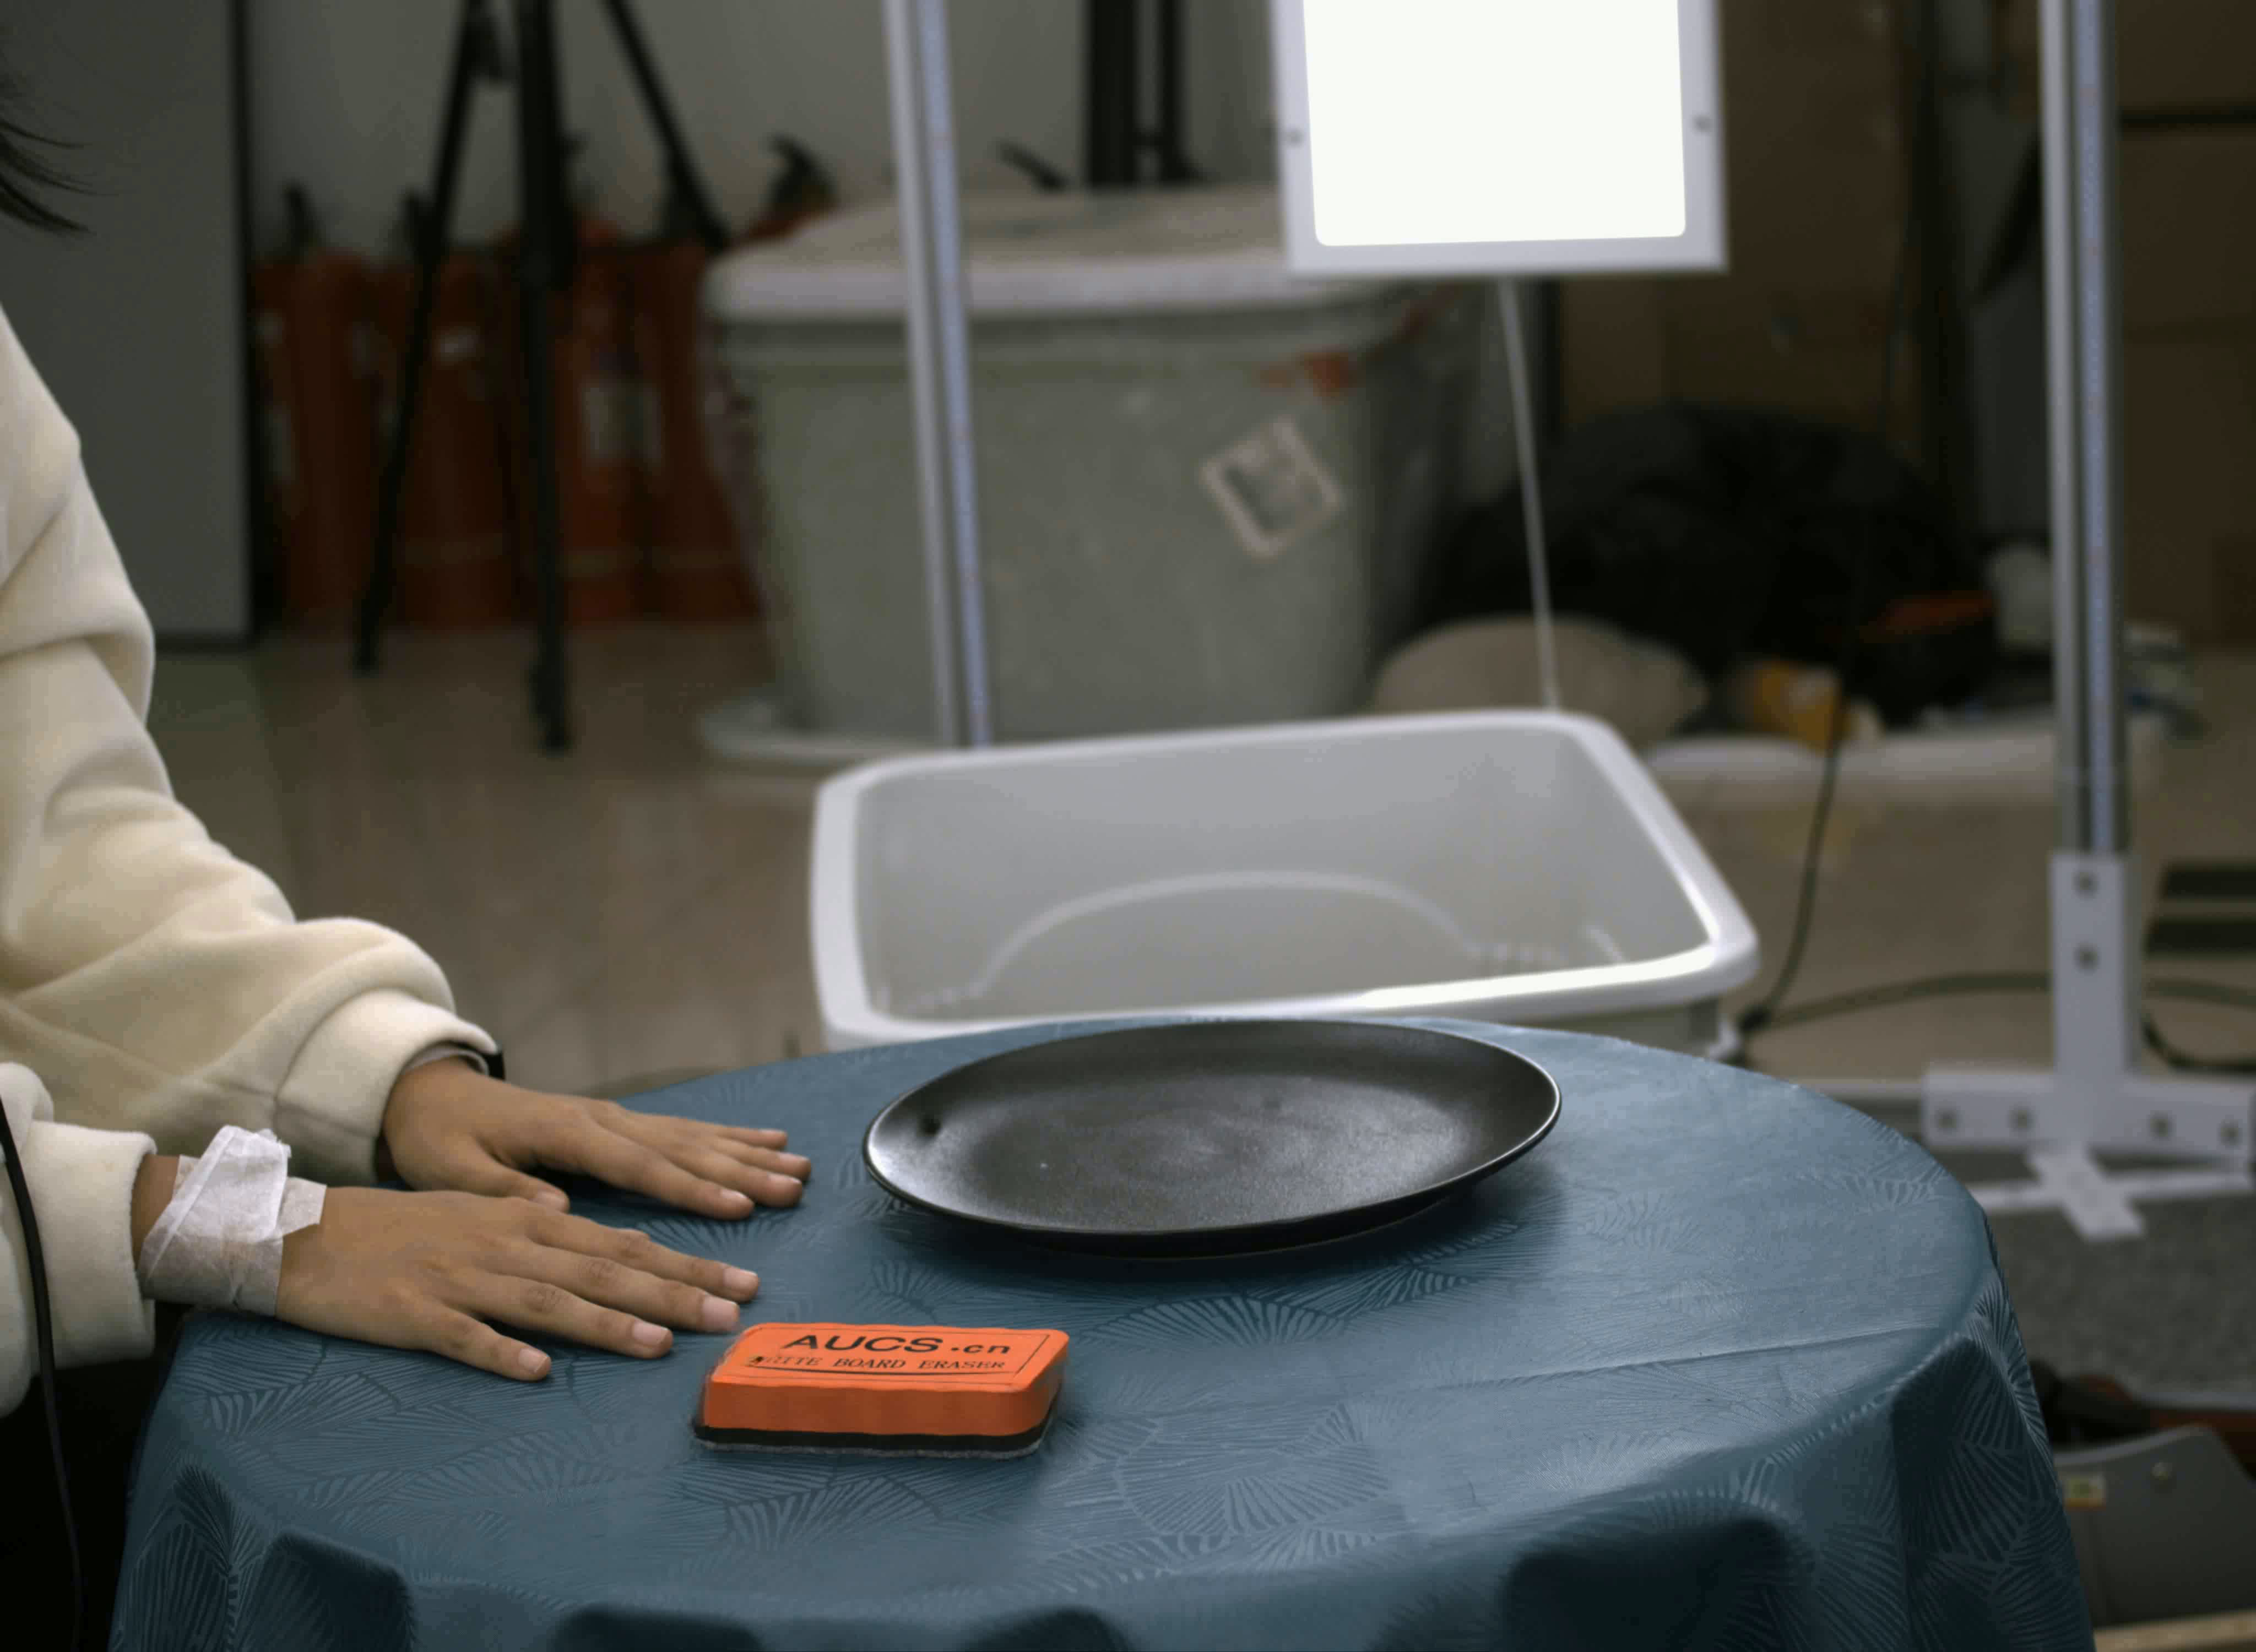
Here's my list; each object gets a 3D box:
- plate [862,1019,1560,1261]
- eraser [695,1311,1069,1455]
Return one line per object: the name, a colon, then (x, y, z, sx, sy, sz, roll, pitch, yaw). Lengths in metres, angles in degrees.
plate: (0.029, 0.111, 1.904, 0.244, 0.023, 0.244, -5, 14, 0)
eraser: (-0.075, 0.170, 1.688, 0.109, 0.023, 0.058, 2, 16, 17)
